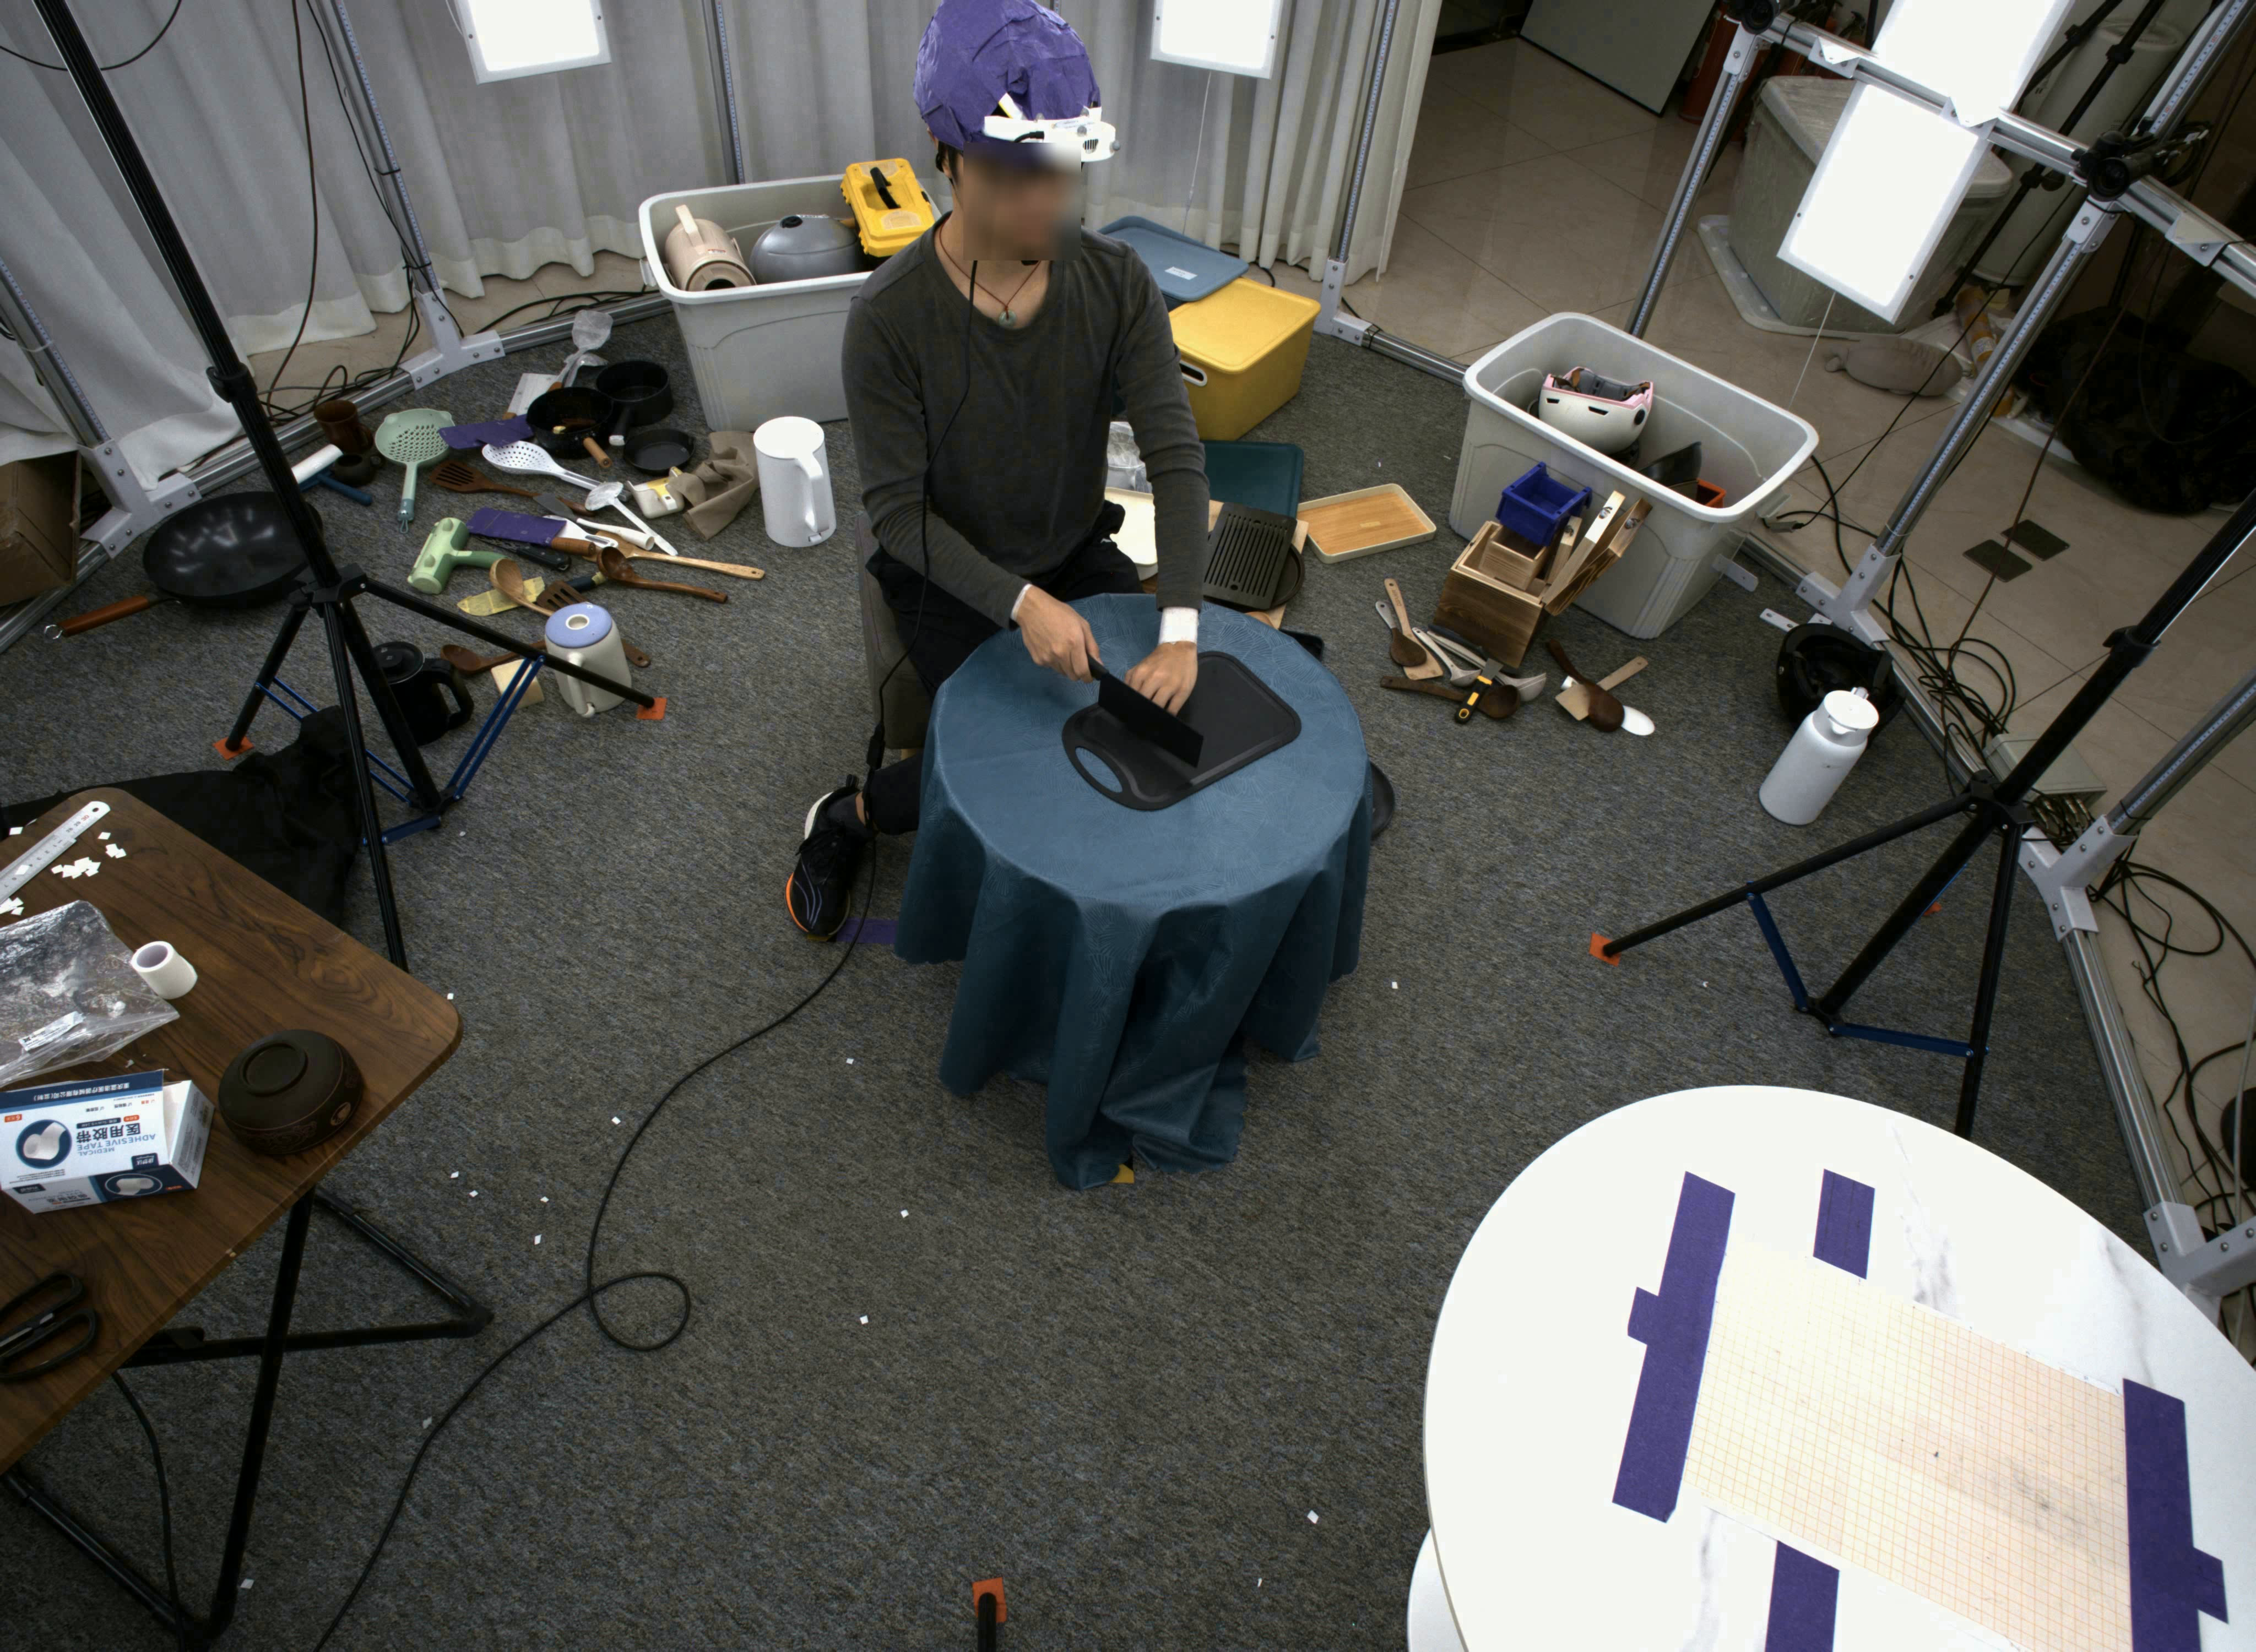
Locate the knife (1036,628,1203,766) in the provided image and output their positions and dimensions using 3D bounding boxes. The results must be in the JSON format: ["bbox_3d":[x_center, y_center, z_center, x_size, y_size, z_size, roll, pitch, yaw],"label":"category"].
[{"bbox_3d":[-0.015,-0.182,1.755,0.306,0.079,0.021,39,51,22],"label":"knife"}]

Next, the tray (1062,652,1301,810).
[{"bbox_3d":[0.070,-0.136,1.786,0.327,0.009,0.215,-27,56,-25],"label":"tray"}]
